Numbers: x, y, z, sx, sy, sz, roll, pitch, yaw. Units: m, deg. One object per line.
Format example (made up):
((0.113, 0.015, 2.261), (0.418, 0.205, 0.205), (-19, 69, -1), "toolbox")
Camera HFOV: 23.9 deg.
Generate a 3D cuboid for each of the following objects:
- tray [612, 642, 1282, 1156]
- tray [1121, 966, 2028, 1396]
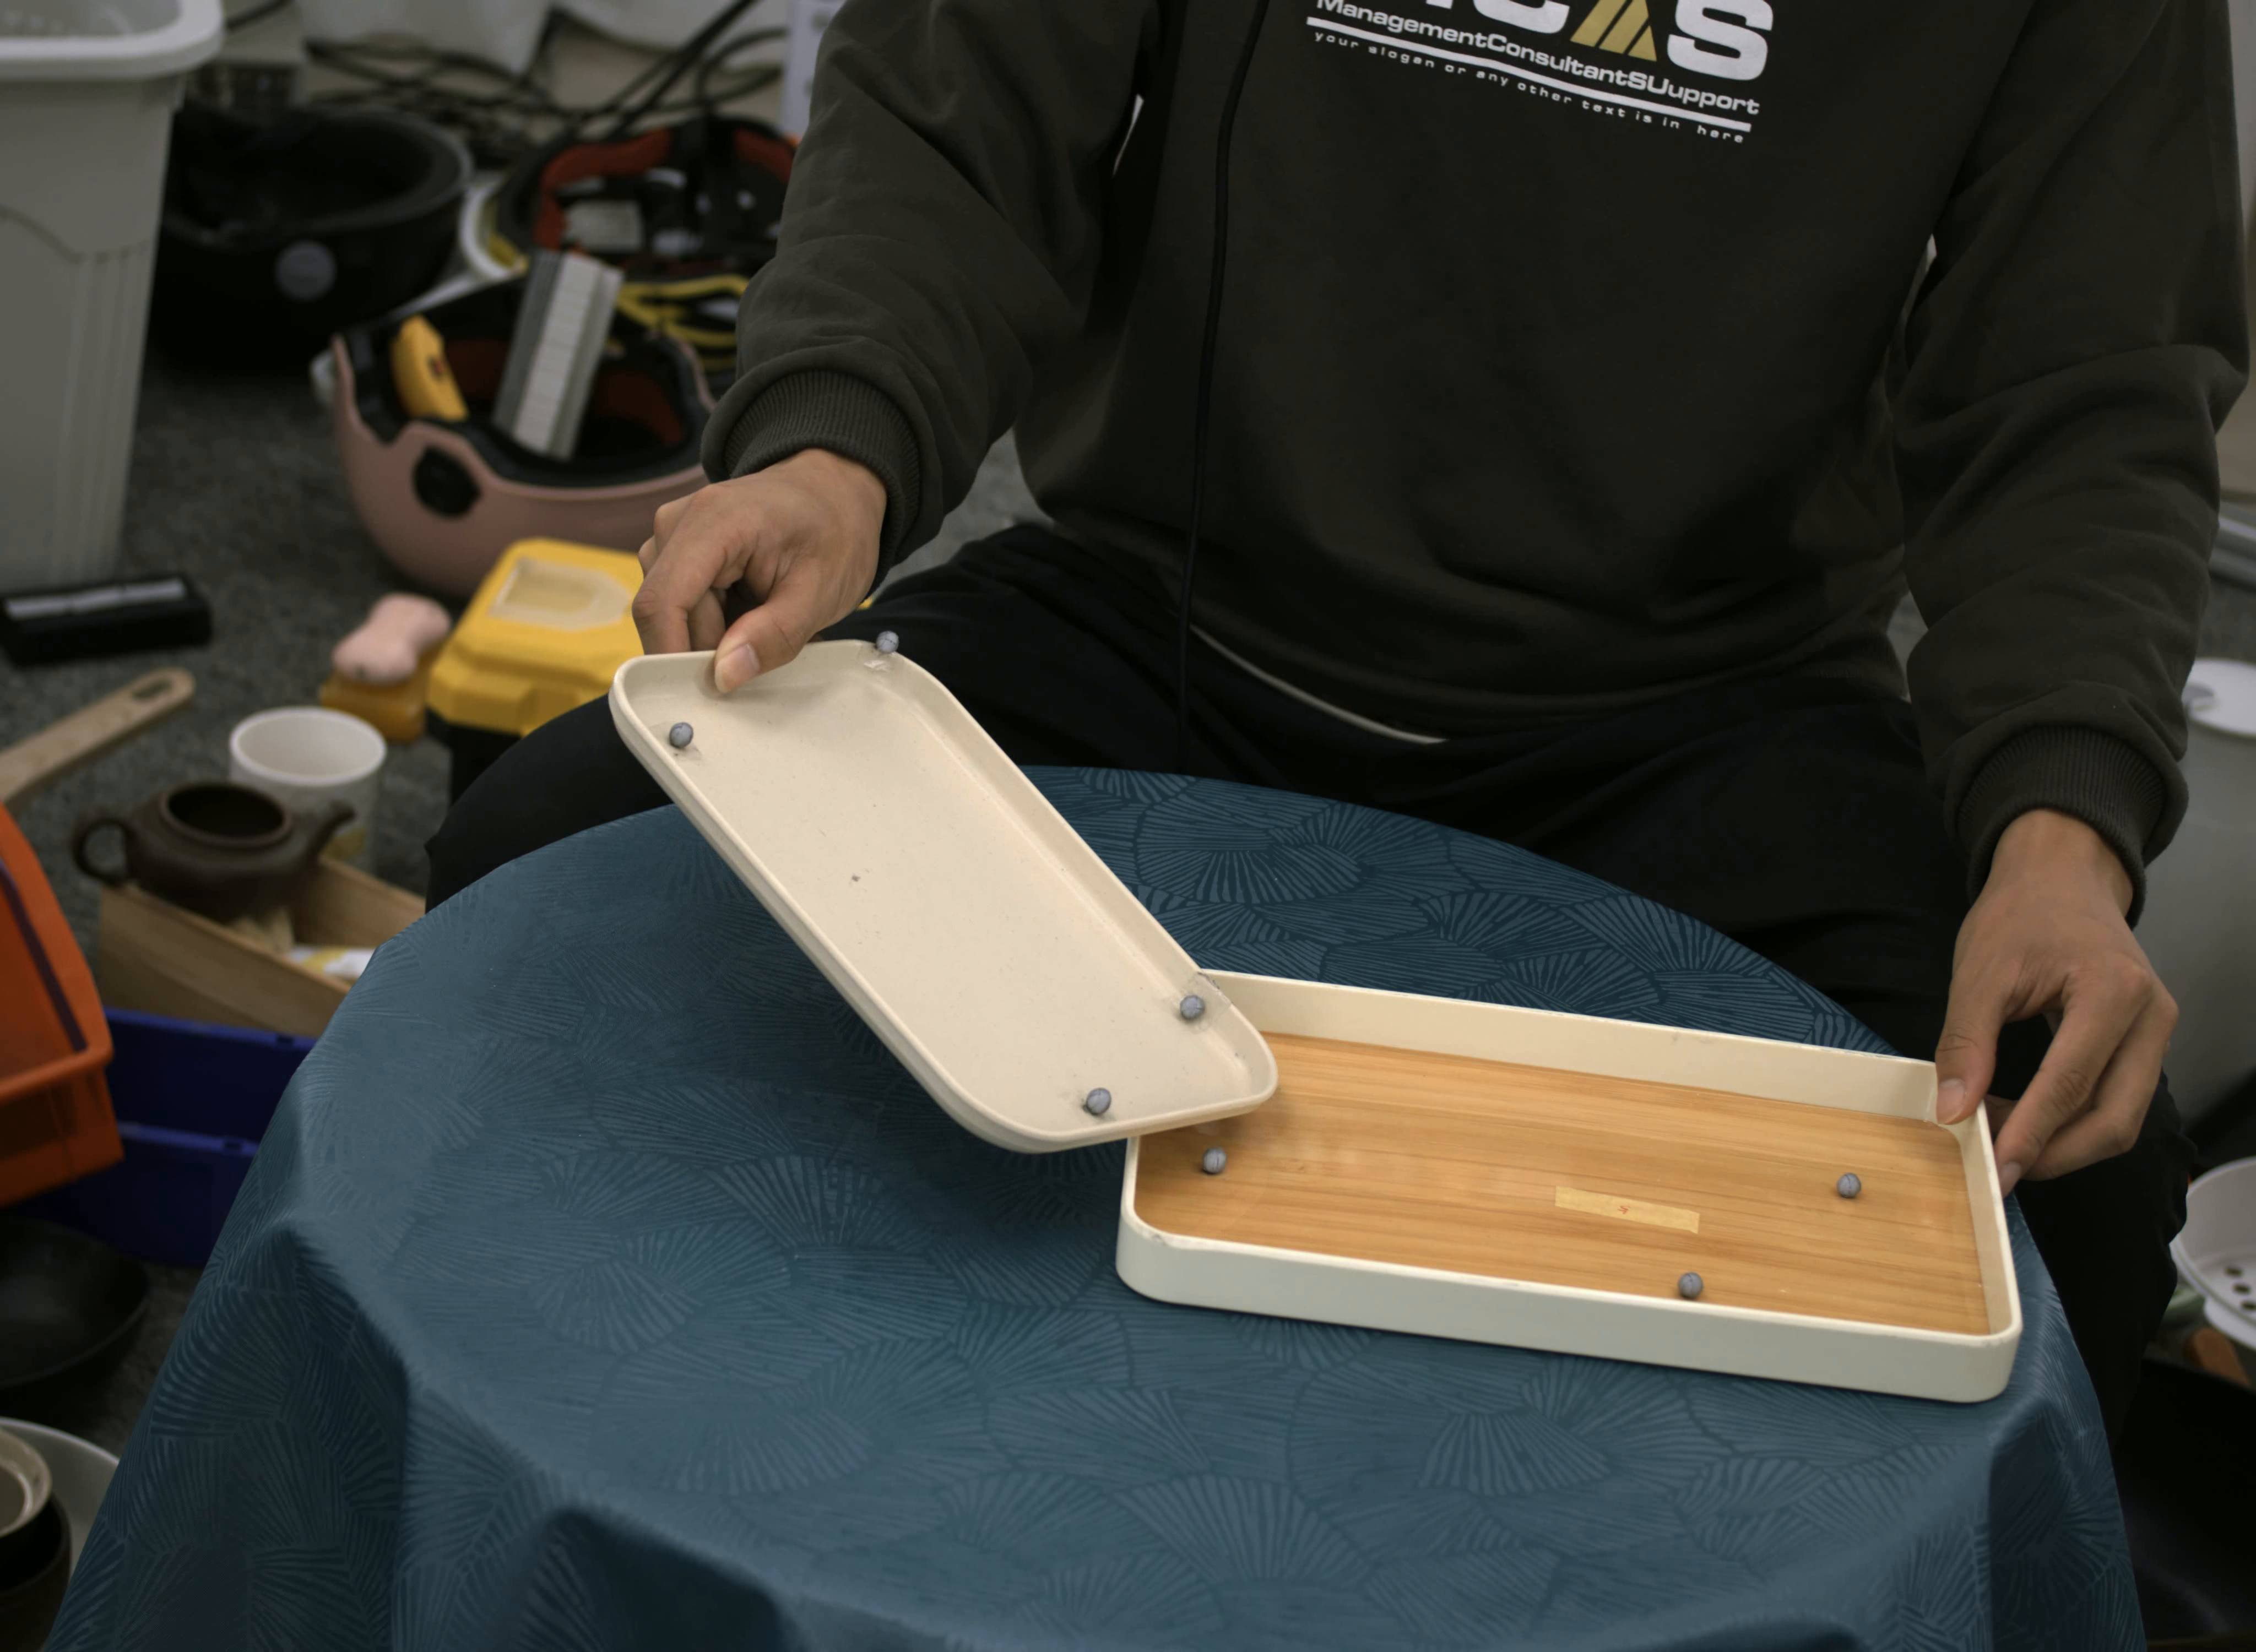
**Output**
((-0.064, 0.023, 1.830), (0.241, 0.017, 0.170), (47, 30, 25), "tray")
((0.150, 0.120, 1.821), (0.299, 0.027, 0.192), (7, 26, 0), "tray")
